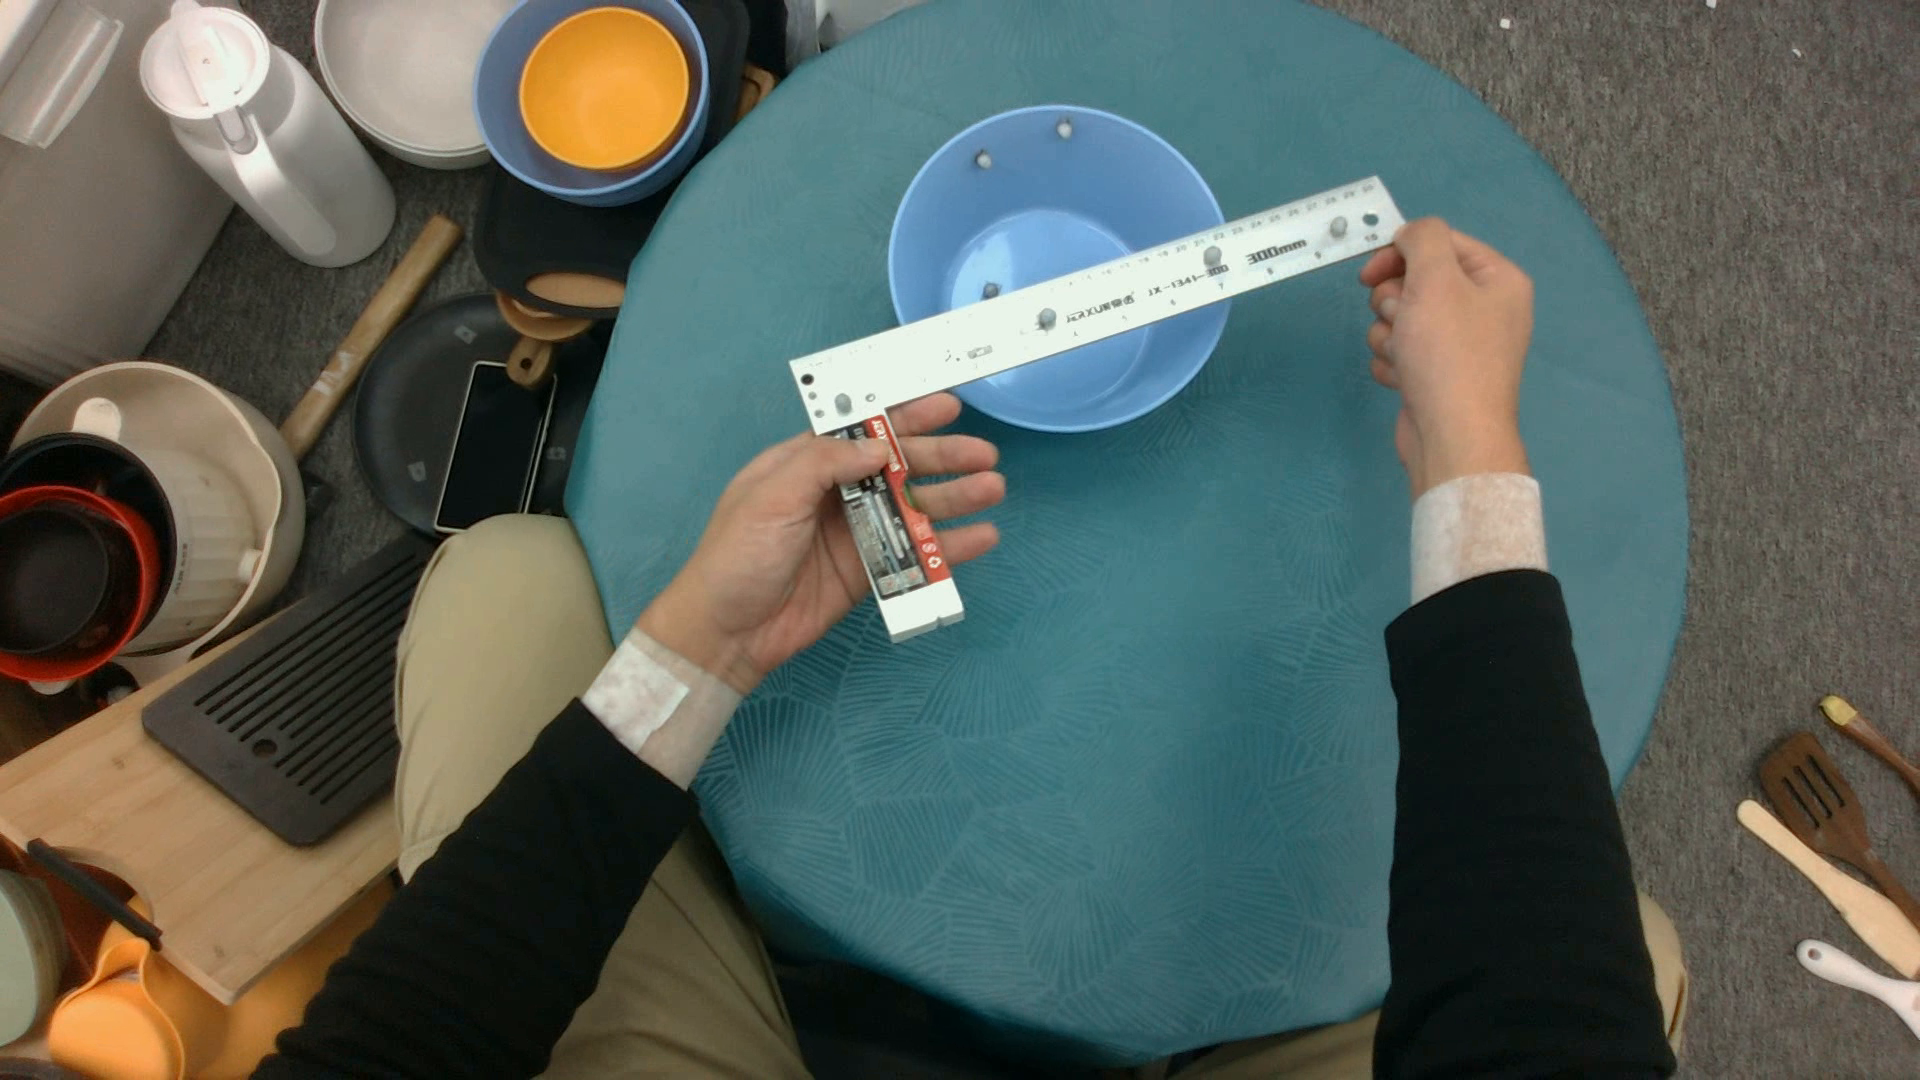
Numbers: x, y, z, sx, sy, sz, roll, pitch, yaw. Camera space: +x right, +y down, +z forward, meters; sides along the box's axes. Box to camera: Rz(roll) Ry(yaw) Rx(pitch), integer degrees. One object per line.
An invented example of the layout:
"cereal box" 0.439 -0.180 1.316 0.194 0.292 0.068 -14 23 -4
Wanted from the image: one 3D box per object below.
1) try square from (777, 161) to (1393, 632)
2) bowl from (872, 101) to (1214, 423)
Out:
"try square" 0.082 -0.076 0.649 0.313 0.016 0.152 -19 70 -8
"bowl" 0.040 -0.136 0.728 0.176 0.070 0.176 1 77 -5
